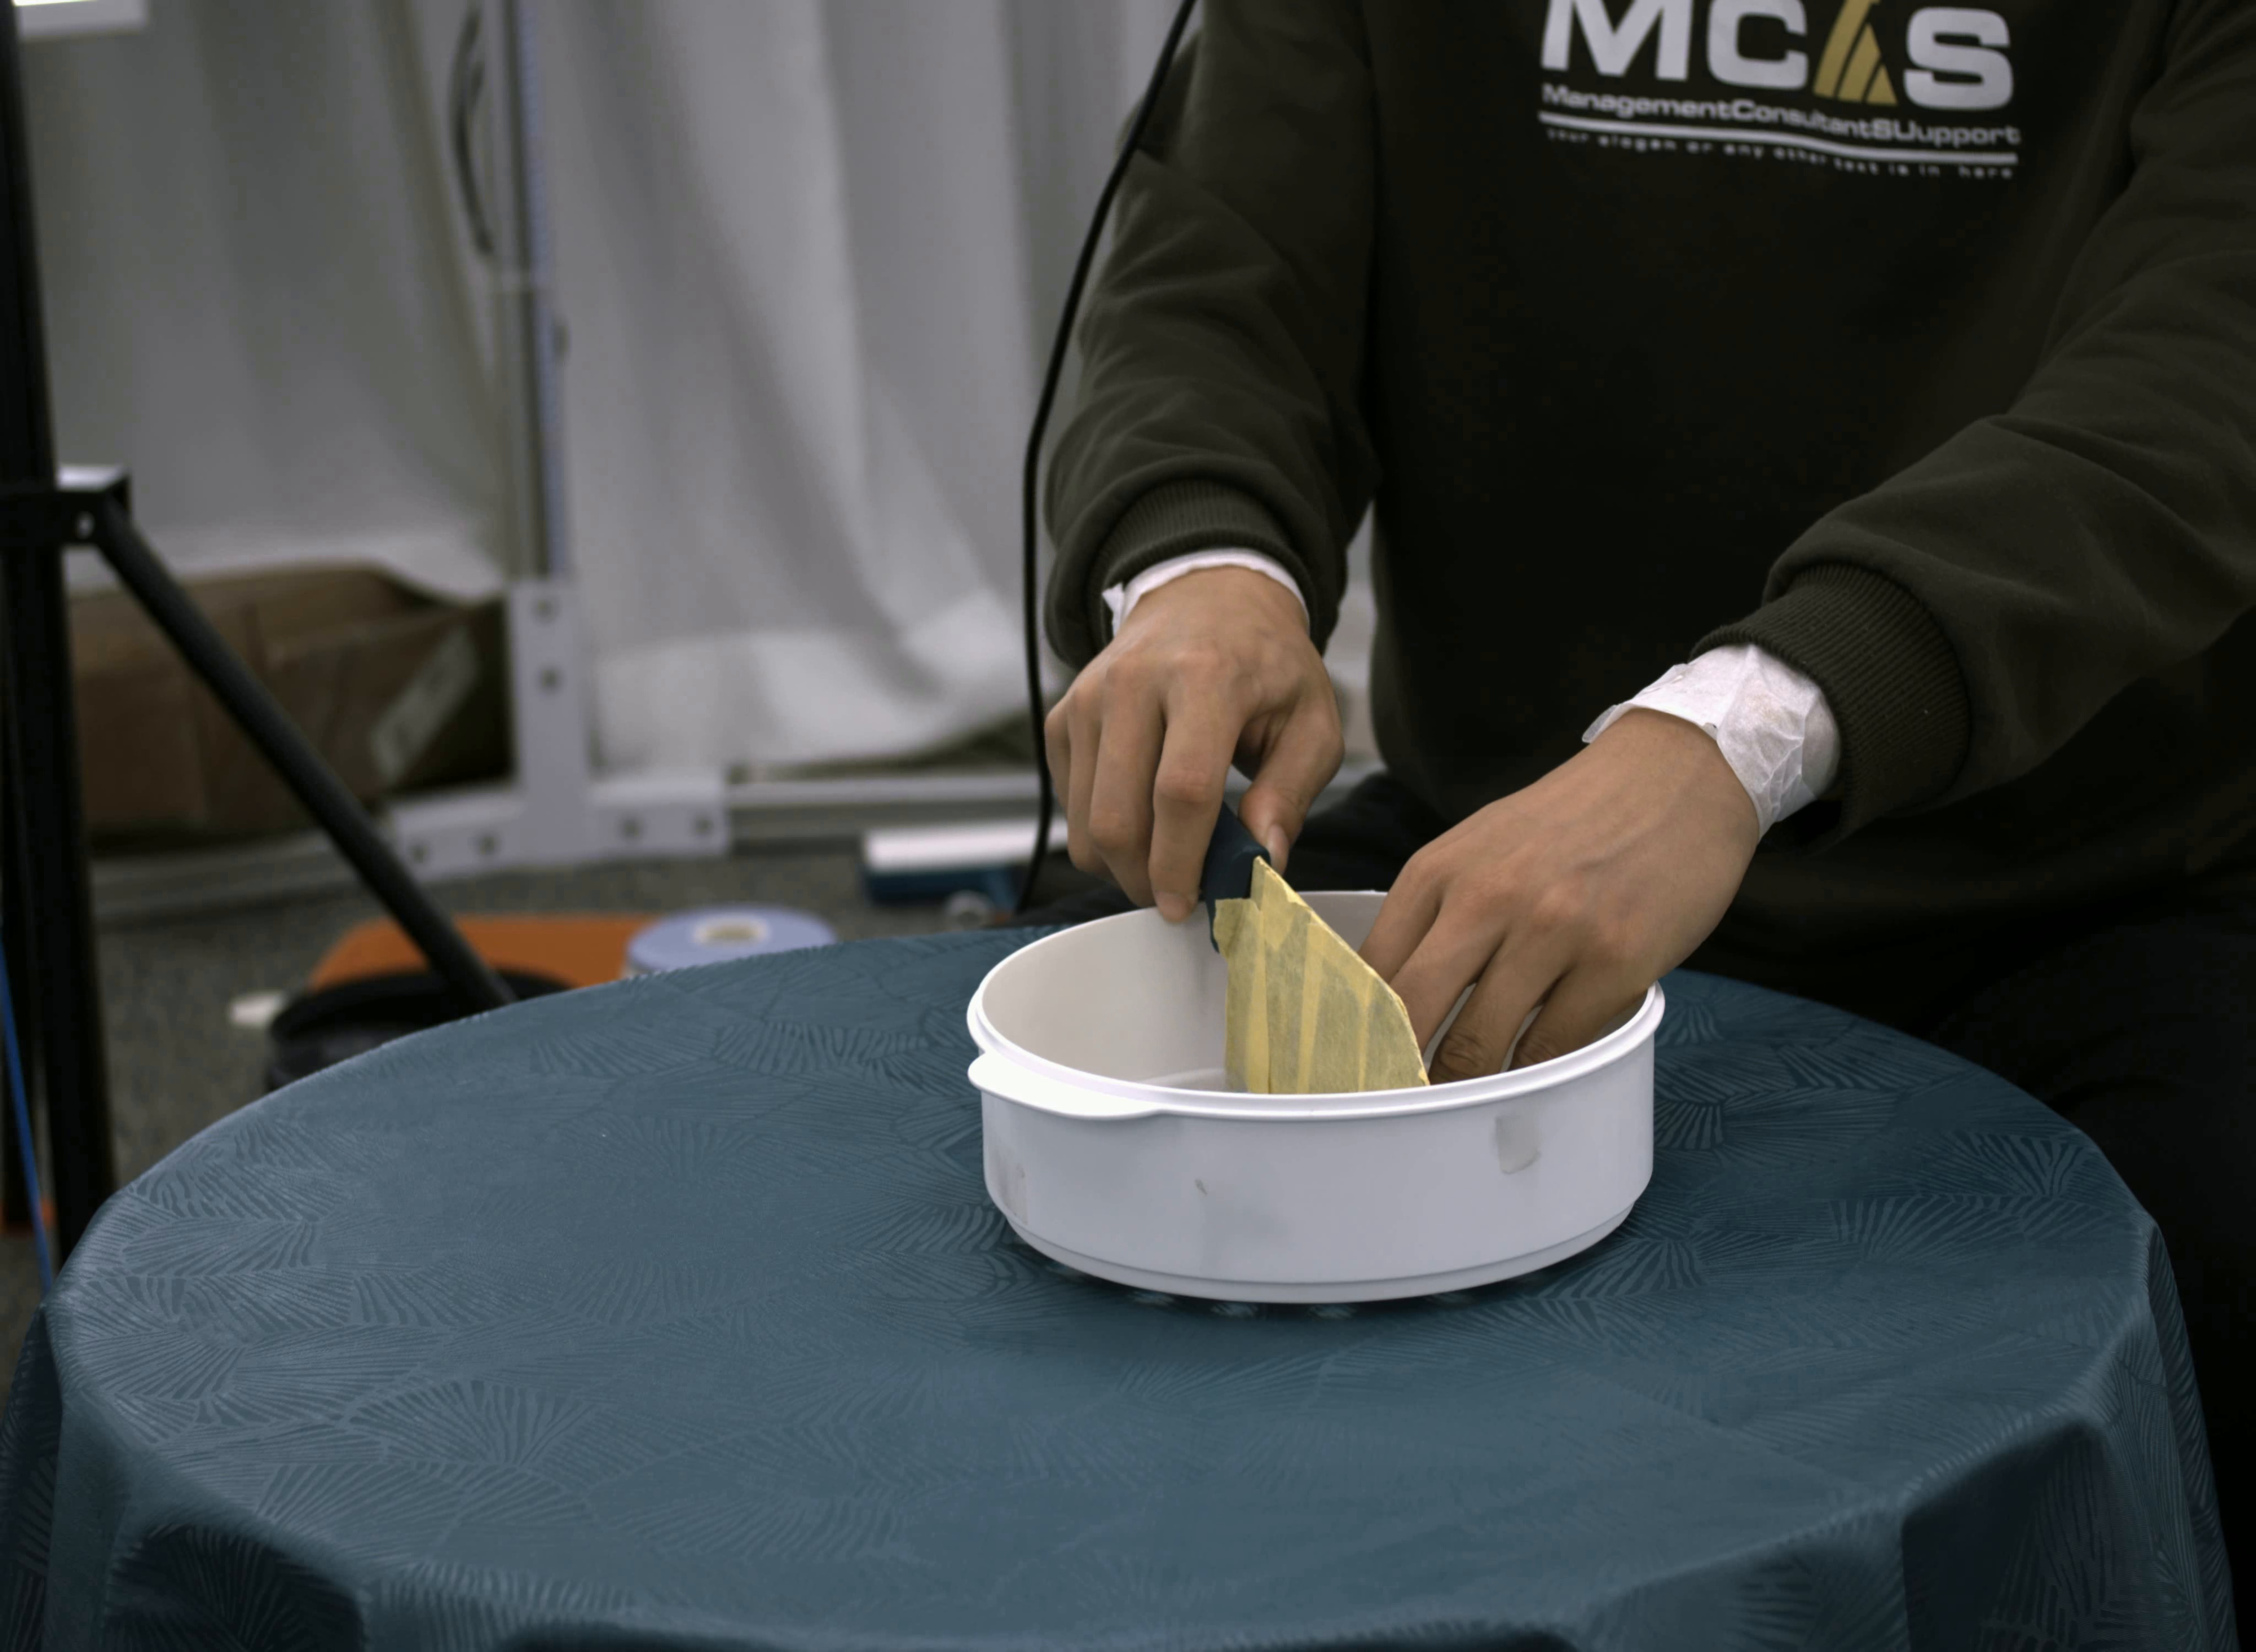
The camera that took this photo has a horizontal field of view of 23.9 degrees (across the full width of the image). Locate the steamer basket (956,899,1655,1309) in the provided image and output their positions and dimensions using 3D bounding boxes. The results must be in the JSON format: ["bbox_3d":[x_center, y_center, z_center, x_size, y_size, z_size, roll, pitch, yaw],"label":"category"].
[{"bbox_3d":[0.051,0.080,1.531,0.225,0.069,0.206,-13,20,-39],"label":"steamer basket"}]

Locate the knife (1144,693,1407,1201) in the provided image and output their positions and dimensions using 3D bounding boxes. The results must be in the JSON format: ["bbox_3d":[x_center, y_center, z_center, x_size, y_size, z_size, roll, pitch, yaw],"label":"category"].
[{"bbox_3d":[0.044,0.035,1.573,0.027,0.081,0.294,2,25,-15],"label":"knife"}]
